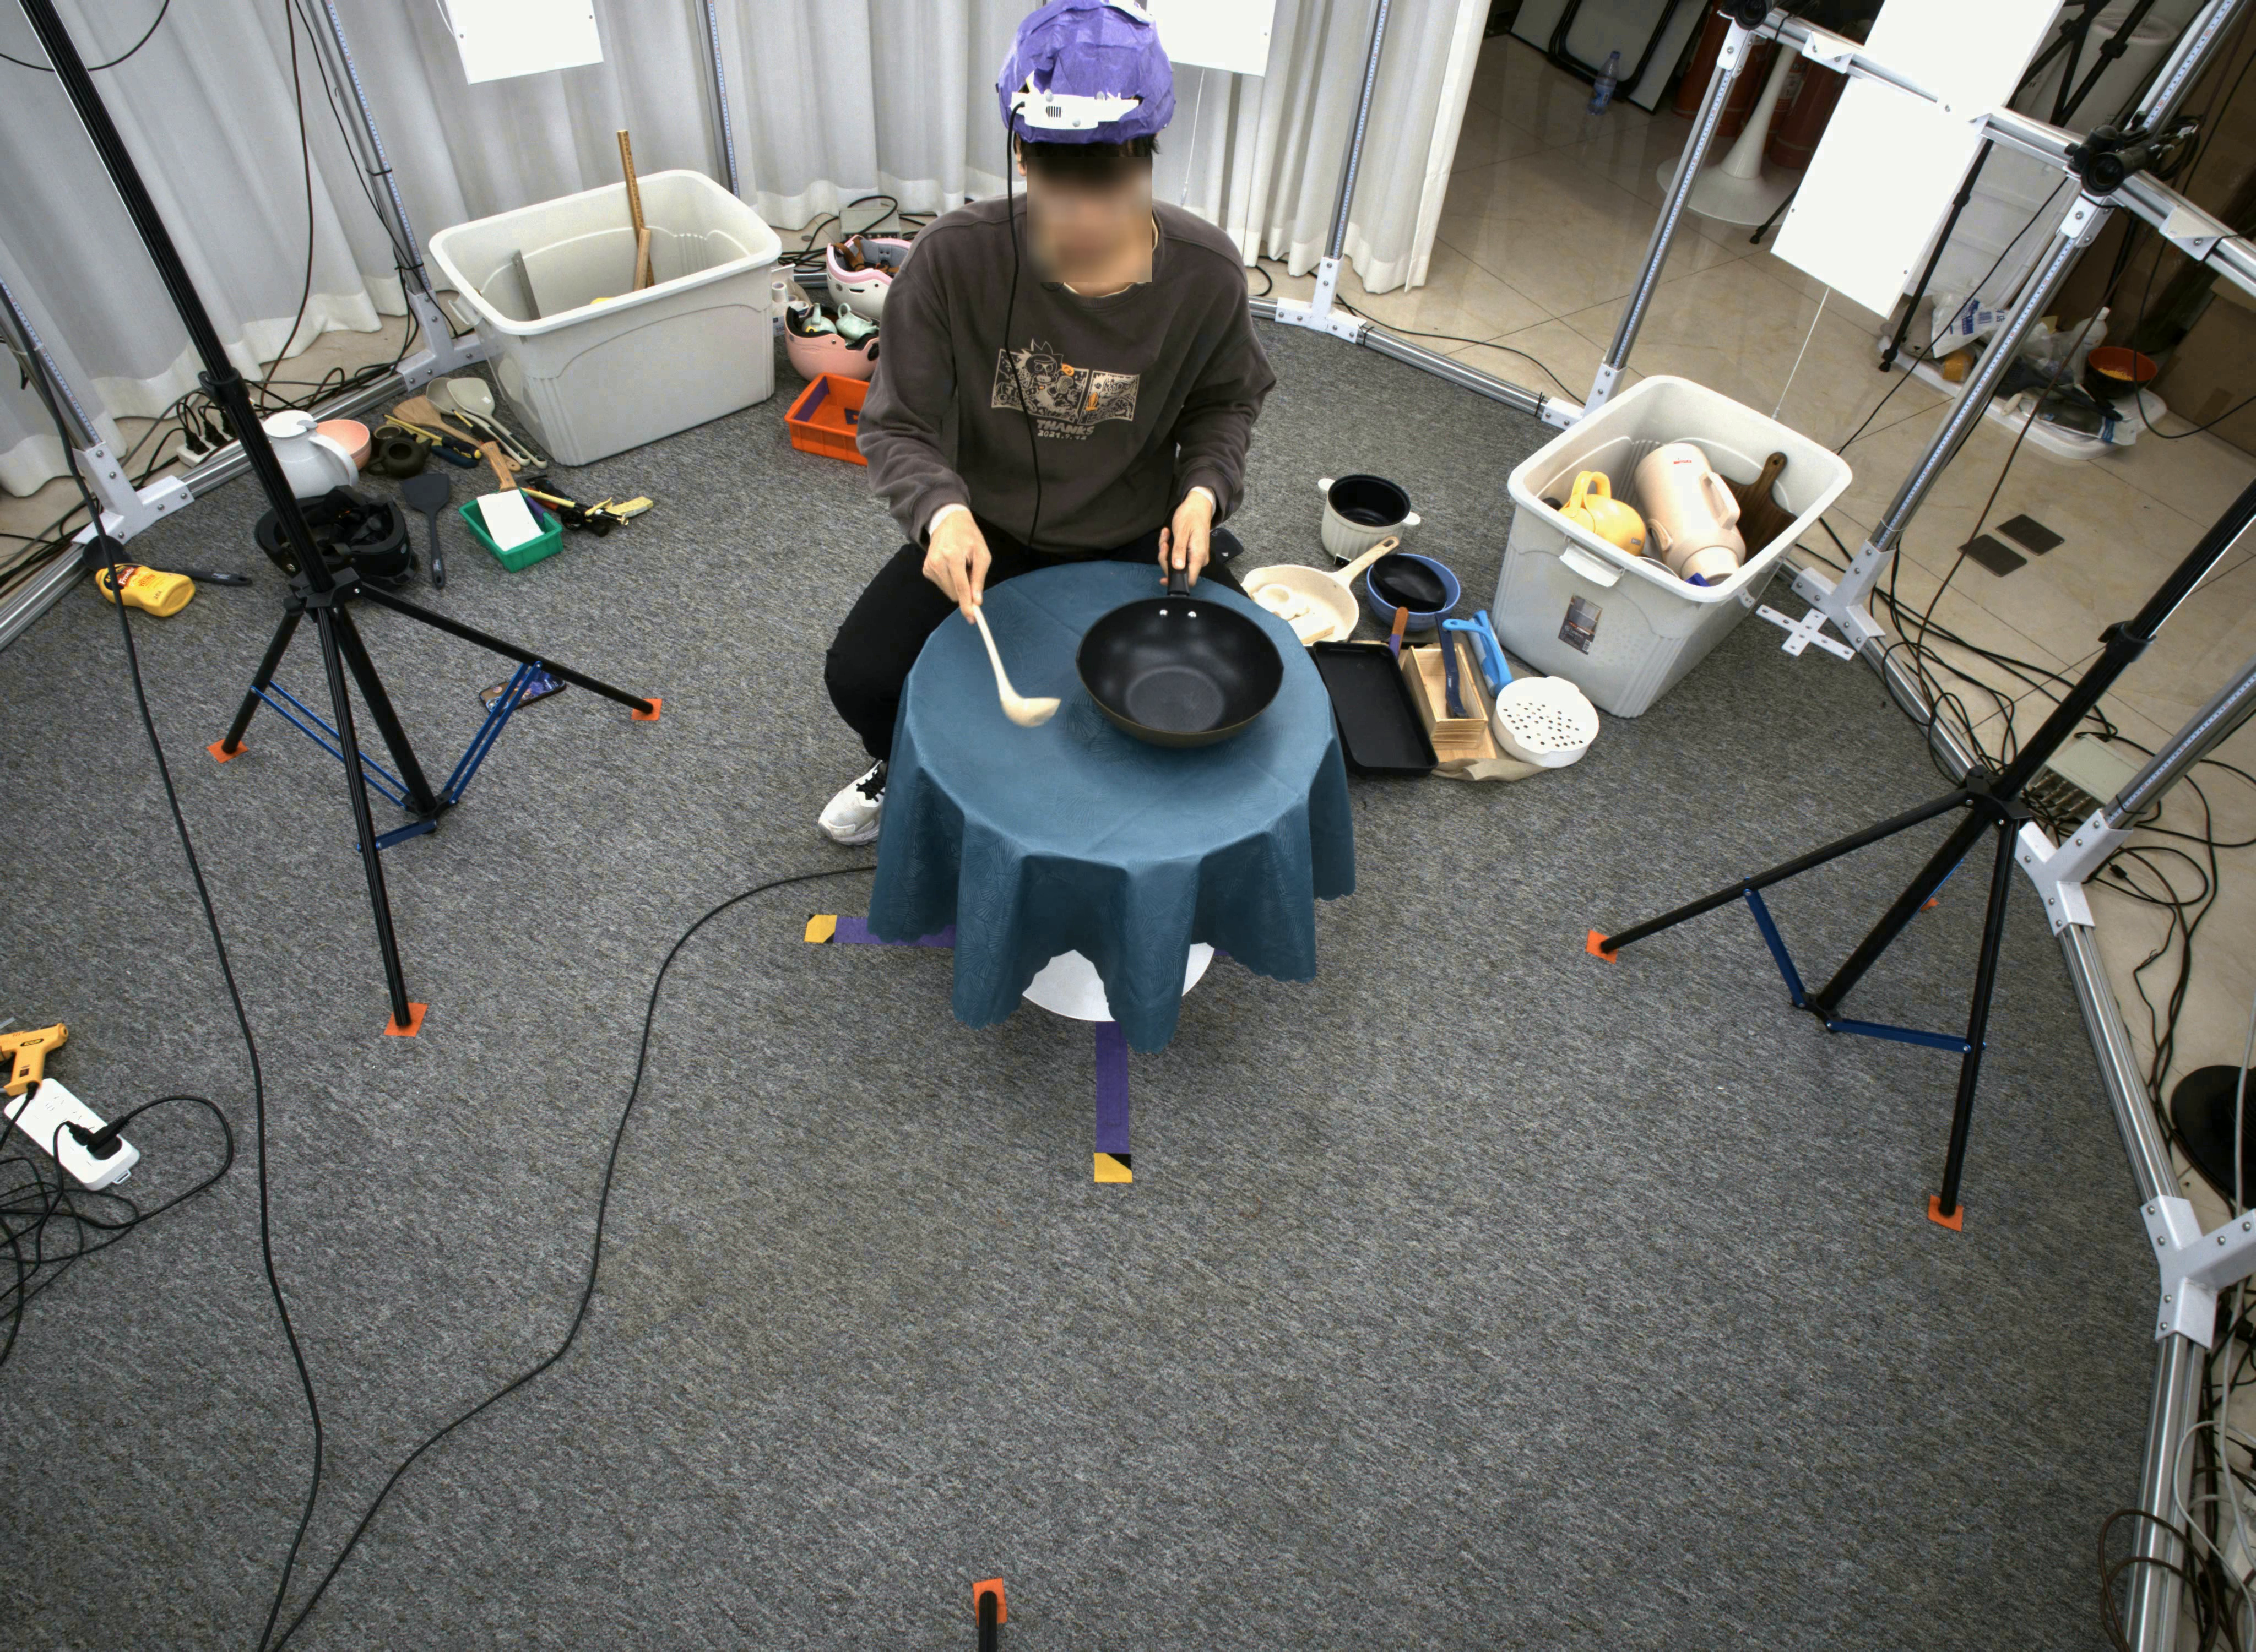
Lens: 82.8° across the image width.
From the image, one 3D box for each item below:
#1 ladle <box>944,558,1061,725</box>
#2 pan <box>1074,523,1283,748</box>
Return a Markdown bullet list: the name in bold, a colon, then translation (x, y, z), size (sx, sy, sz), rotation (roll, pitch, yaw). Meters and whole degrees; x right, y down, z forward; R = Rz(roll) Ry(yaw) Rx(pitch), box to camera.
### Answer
- **ladle**: translation (-0.161, -0.249, 1.632), size (0.072, 0.072, 0.257), rotation (-12, 74, -46)
- **pan**: translation (0.070, -0.270, 1.852), size (0.288, 0.085, 0.475), rotation (3, 47, -1)
